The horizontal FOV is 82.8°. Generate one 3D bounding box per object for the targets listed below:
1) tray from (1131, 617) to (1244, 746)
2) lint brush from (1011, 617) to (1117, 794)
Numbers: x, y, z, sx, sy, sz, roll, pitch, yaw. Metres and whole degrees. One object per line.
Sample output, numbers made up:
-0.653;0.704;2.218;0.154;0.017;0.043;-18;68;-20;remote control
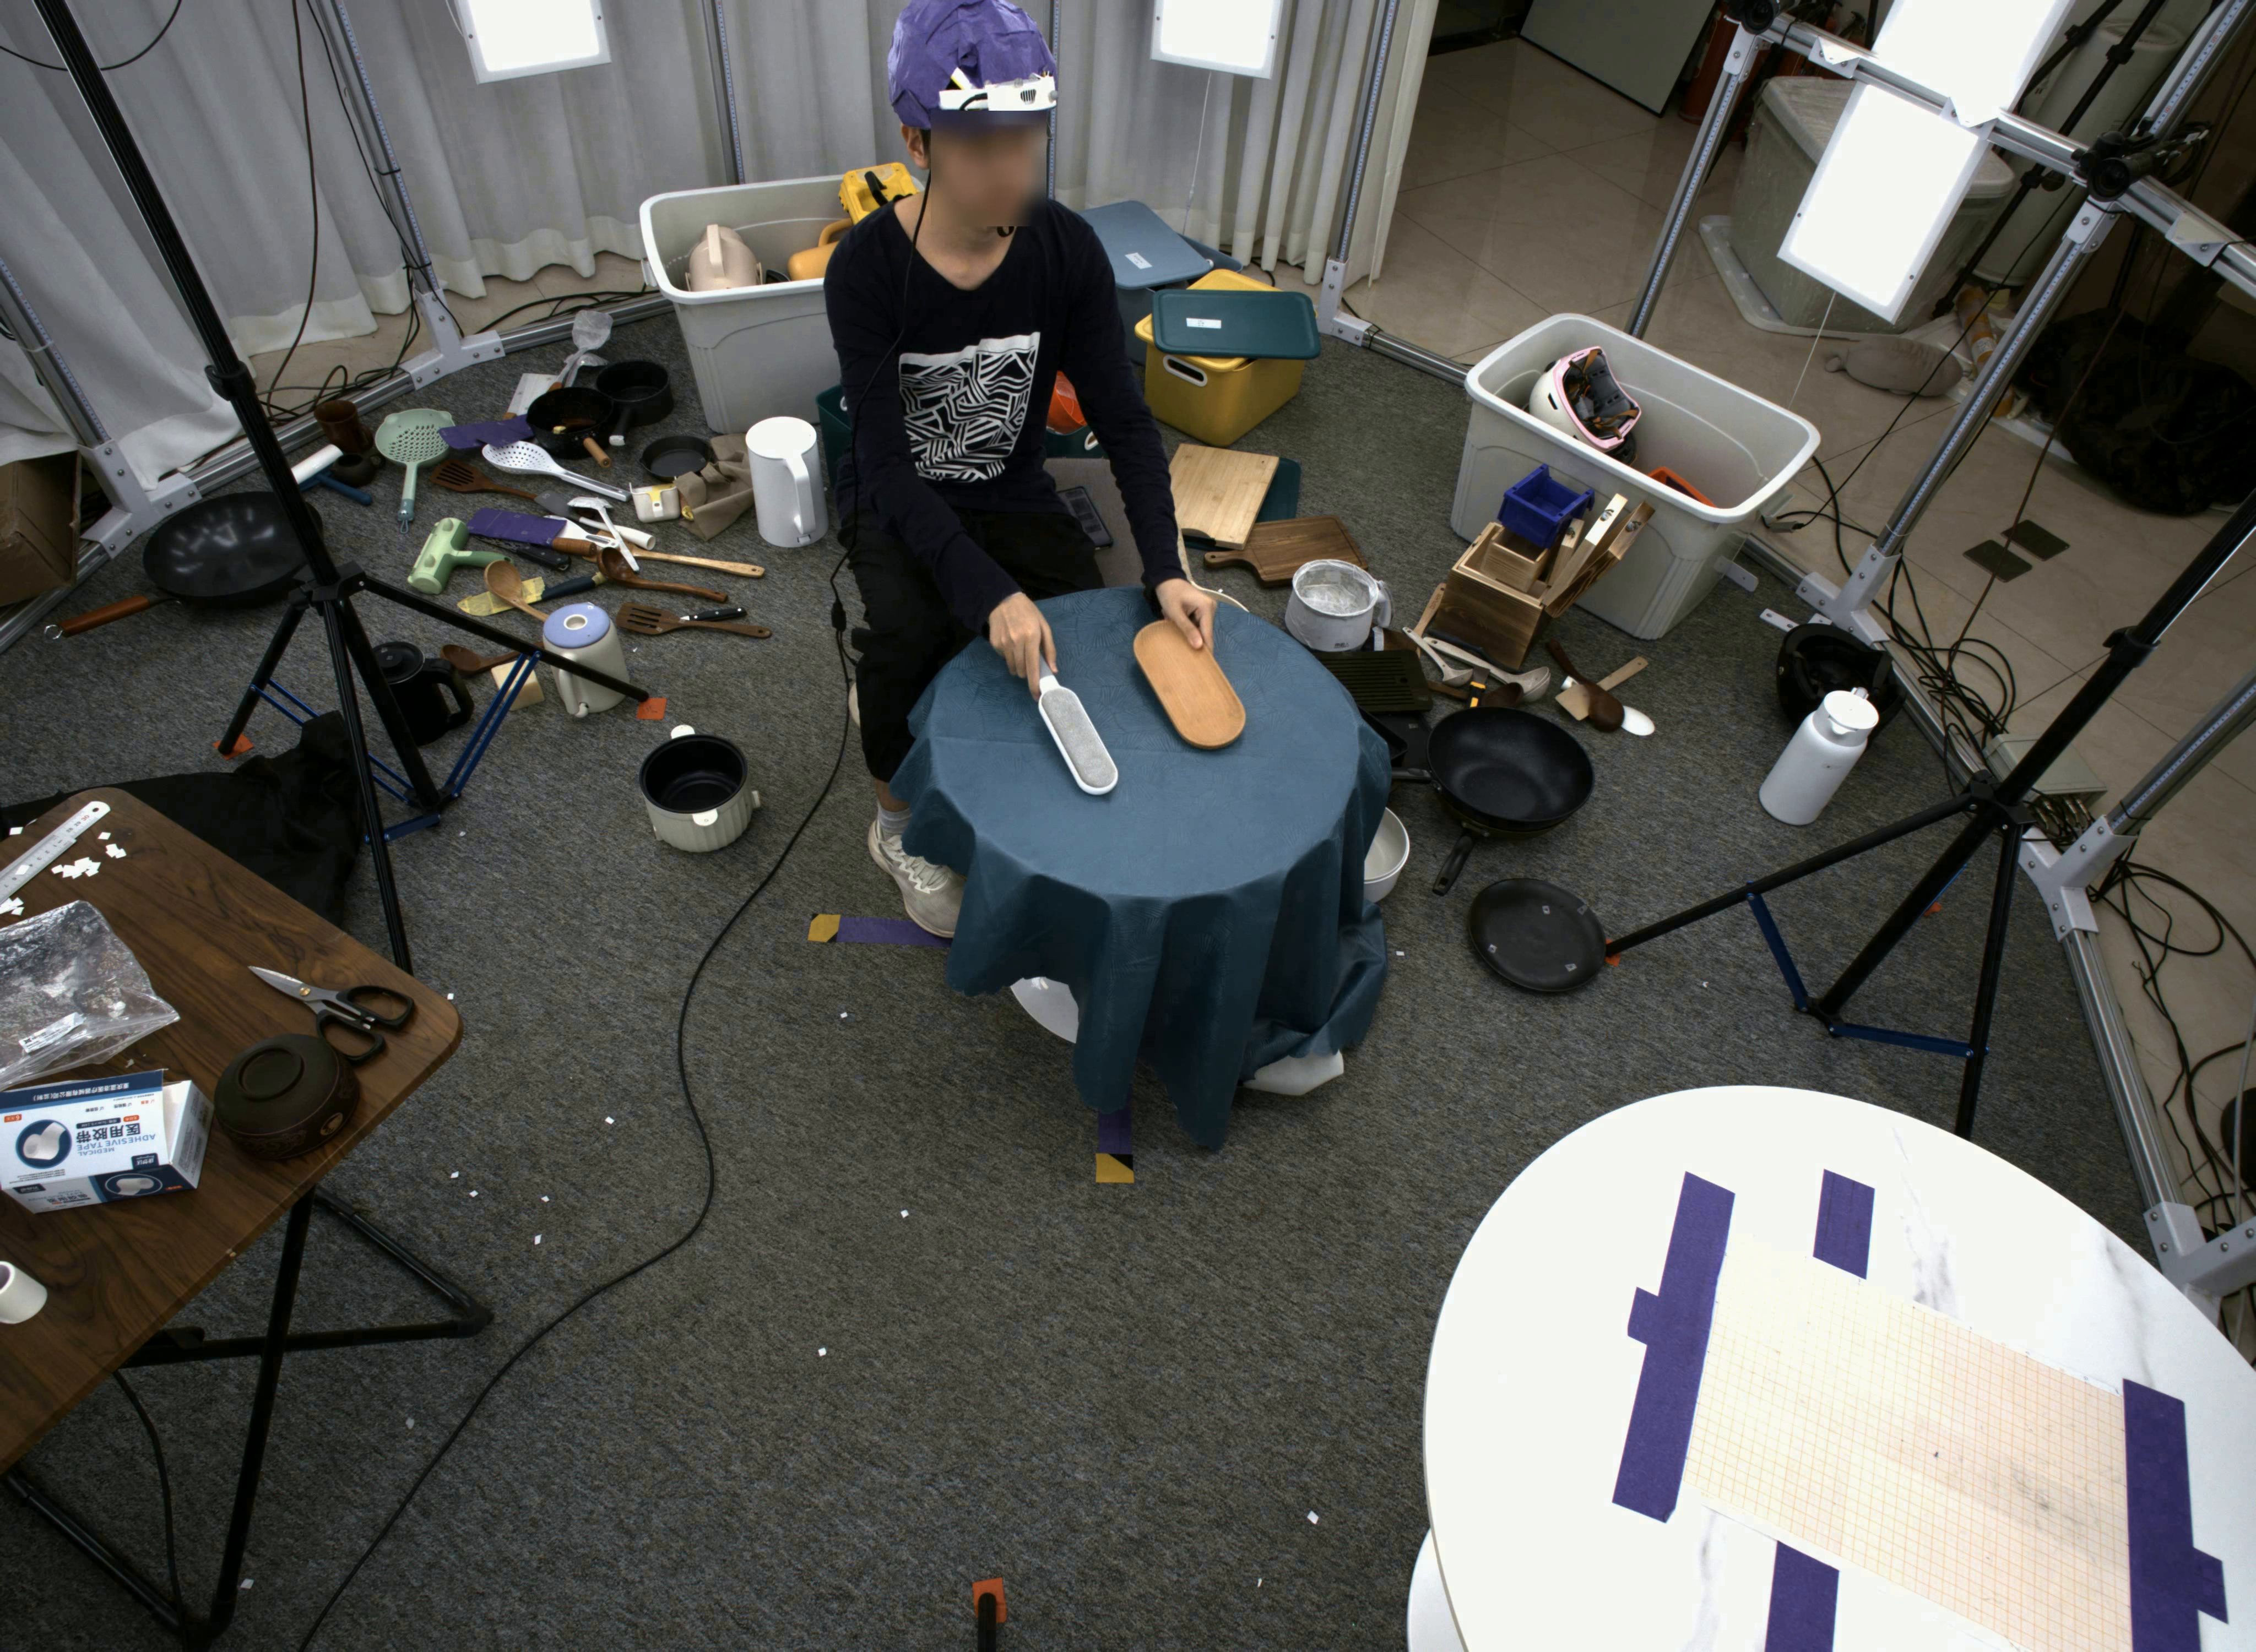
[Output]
0.083;-0.207;1.819;0.102;0.020;0.236;-21;59;-14;tray
-0.094;-0.171;1.764;0.060;0.020;0.315;-21;62;-12;lint brush
